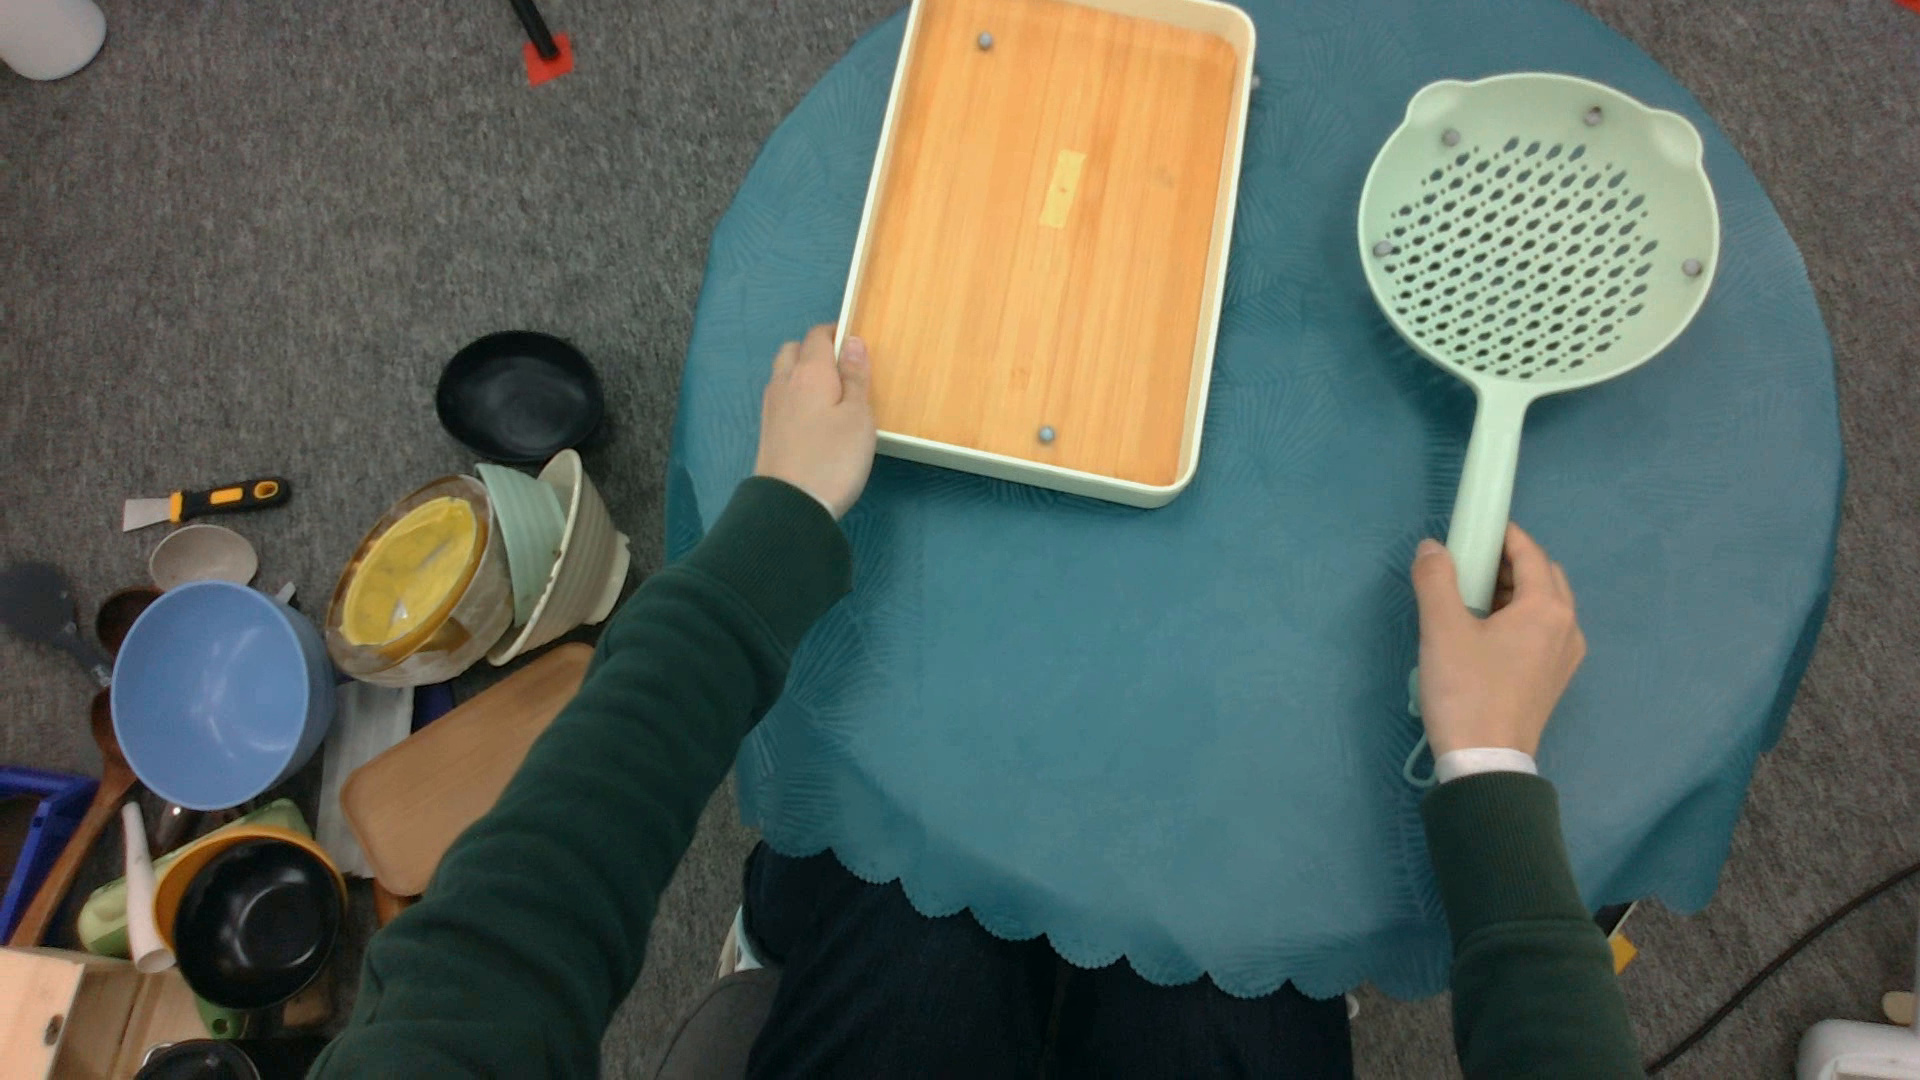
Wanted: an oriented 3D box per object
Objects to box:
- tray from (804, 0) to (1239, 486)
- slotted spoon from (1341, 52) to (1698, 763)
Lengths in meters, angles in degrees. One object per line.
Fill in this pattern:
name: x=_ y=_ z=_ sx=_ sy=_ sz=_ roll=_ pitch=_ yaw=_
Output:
tray: x=0.039 y=-0.184 z=0.733 sx=0.191 sy=0.027 sz=0.301 roll=12 pitch=71 yaw=-2
slotted spoon: x=0.252 y=-0.071 z=0.673 sx=0.169 sy=0.075 sz=0.360 roll=13 pitch=71 yaw=12
